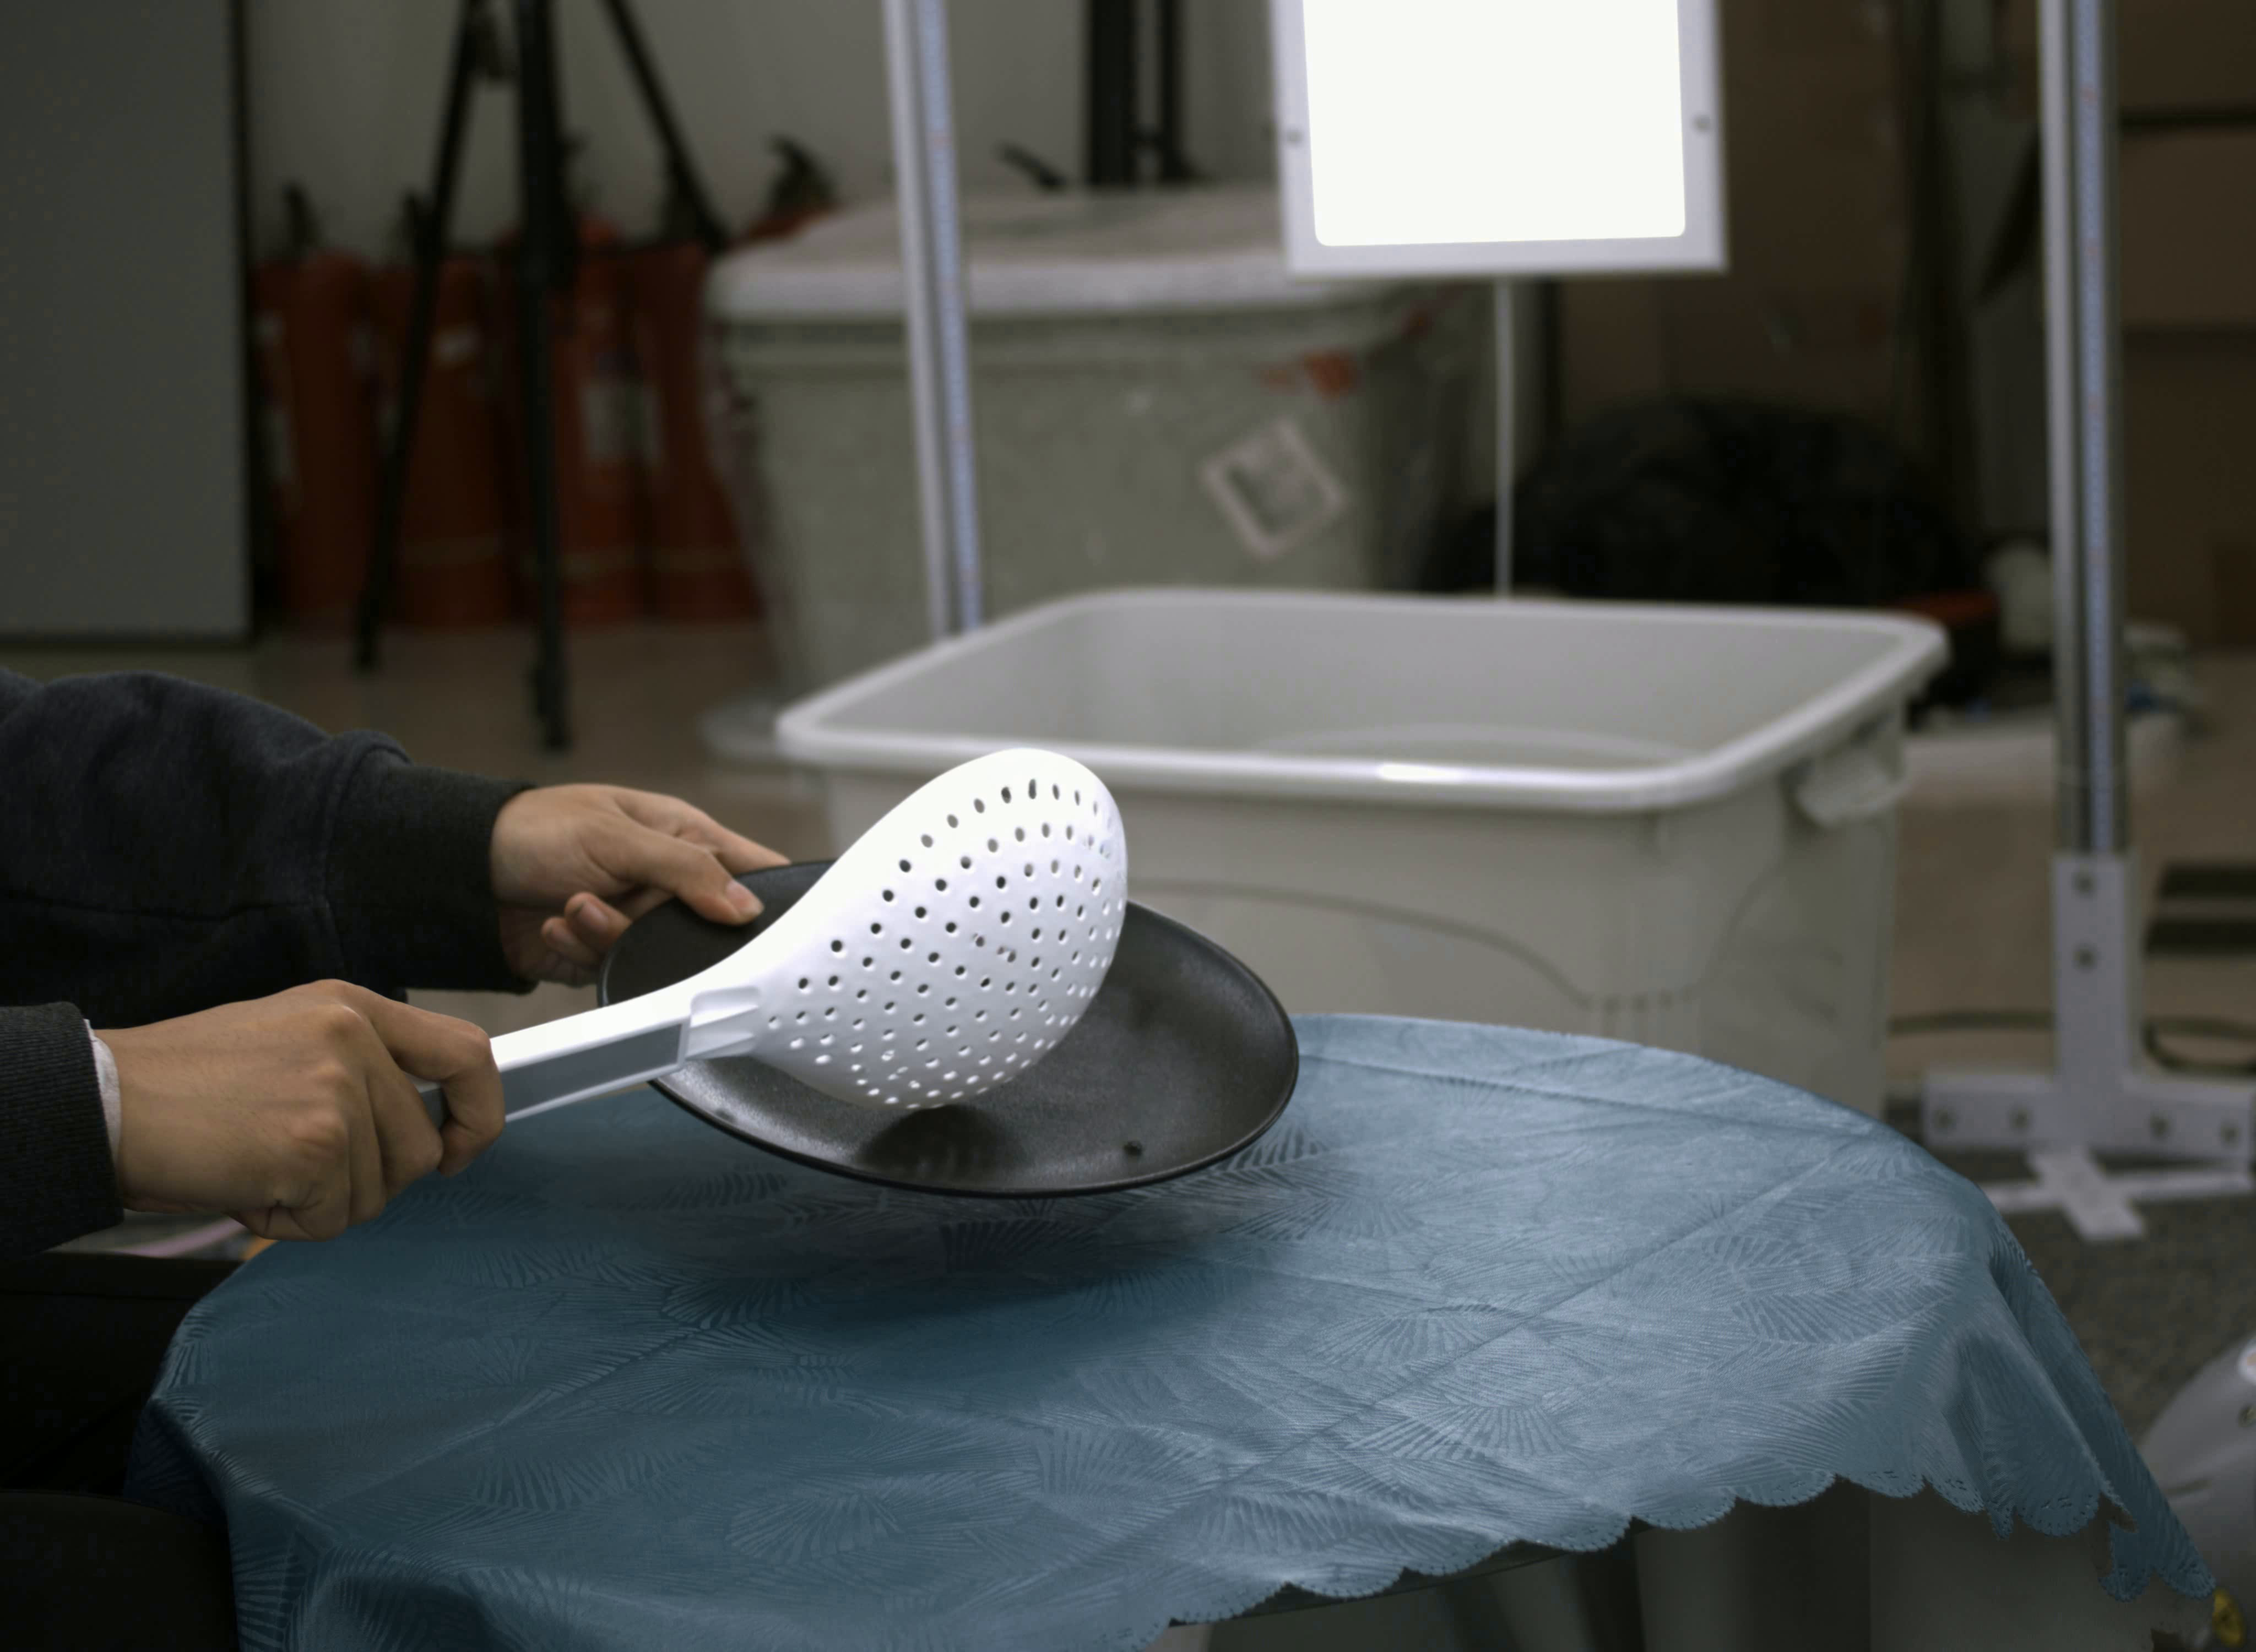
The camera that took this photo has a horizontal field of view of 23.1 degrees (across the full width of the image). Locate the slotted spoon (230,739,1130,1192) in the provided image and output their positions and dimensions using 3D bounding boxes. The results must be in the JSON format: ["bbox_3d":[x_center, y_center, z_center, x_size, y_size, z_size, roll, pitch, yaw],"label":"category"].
[{"bbox_3d":[-0.133,0.059,1.763,0.341,0.137,0.046,-12,34,-31],"label":"slotted spoon"}]

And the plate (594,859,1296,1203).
[{"bbox_3d":[-0.063,0.075,1.896,0.243,0.023,0.244,5,25,-4],"label":"plate"}]
